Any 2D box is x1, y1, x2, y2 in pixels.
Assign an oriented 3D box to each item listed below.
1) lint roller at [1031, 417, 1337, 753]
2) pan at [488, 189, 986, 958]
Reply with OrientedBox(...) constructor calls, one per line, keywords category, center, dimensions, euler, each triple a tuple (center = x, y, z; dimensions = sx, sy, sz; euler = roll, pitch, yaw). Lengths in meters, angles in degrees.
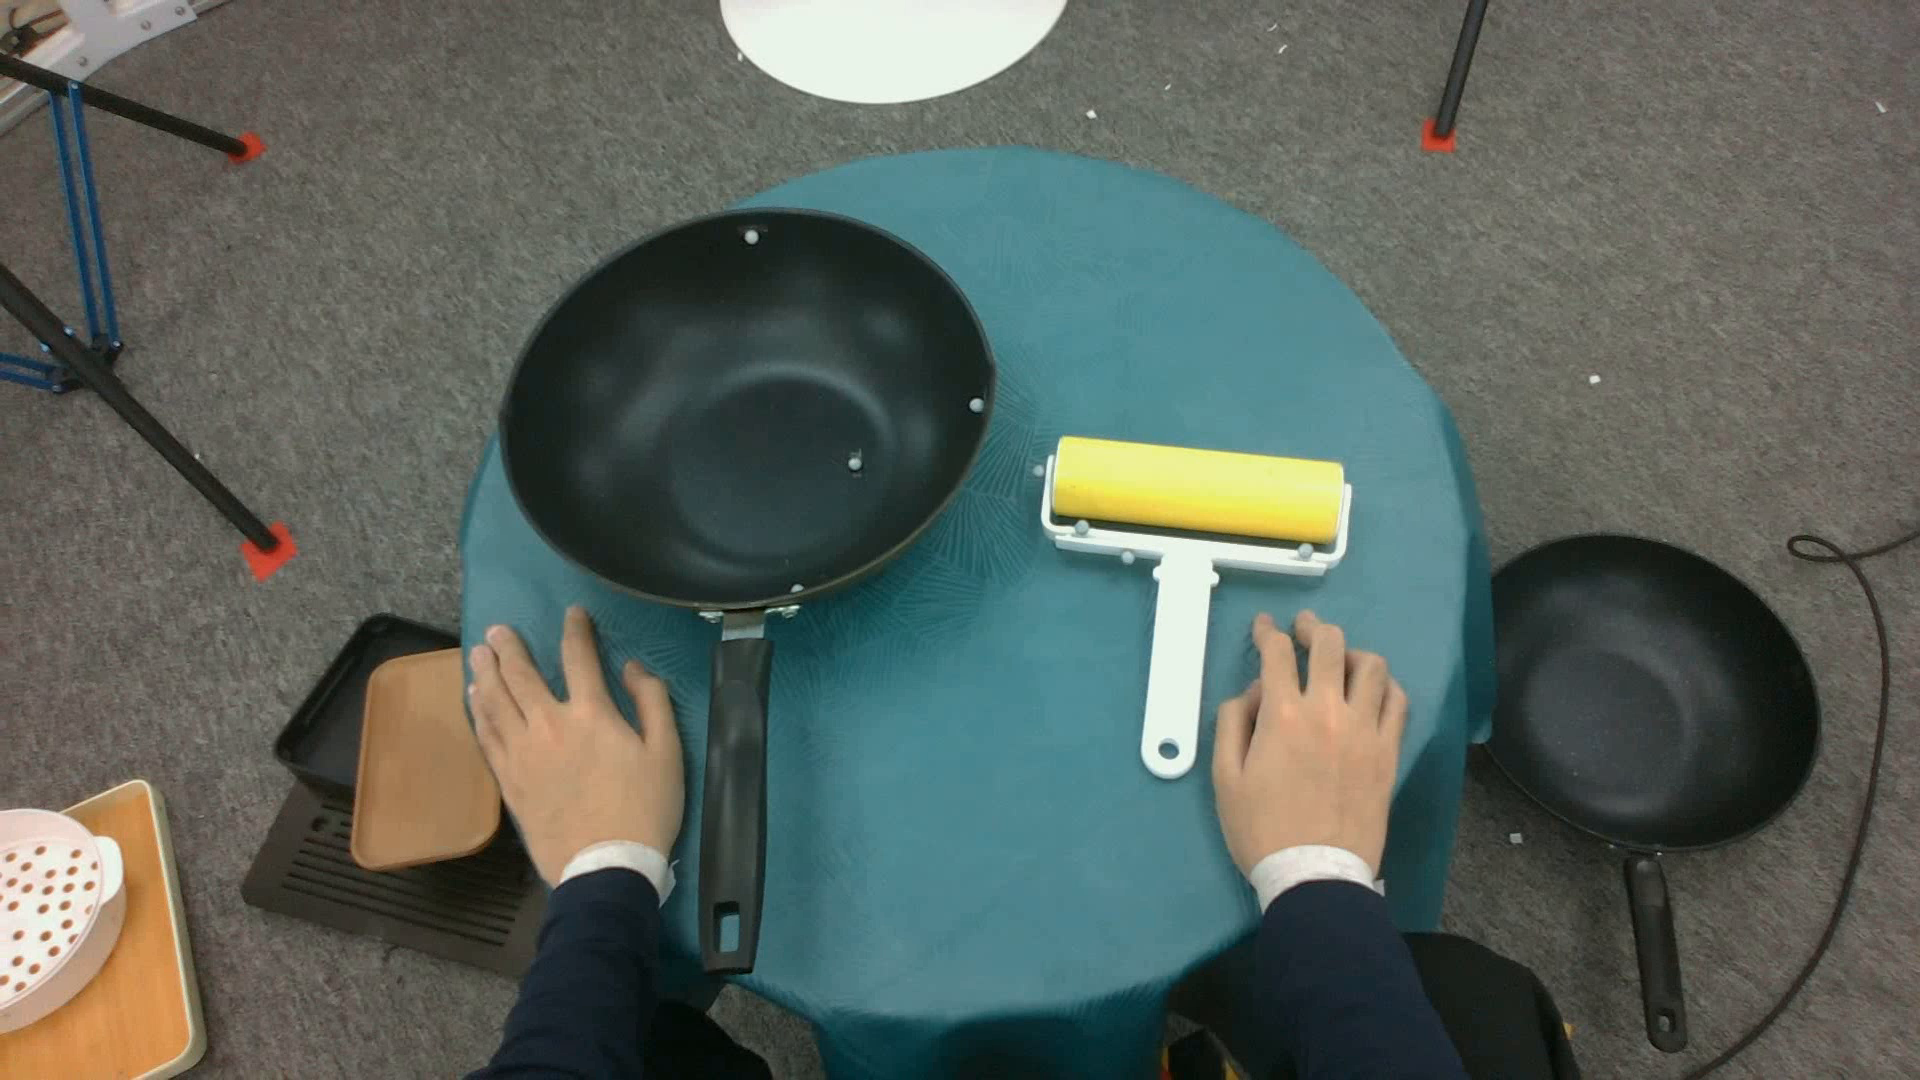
OrientedBox(category="lint roller", center=(0.120, 0.020, 0.765), dimensions=(0.174, 0.051, 0.193), euler=(4, 60, 7))
OrientedBox(category="pan", center=(-0.120, 0.003, 0.772), dimensions=(0.288, 0.086, 0.465), euler=(-5, 60, 2))
